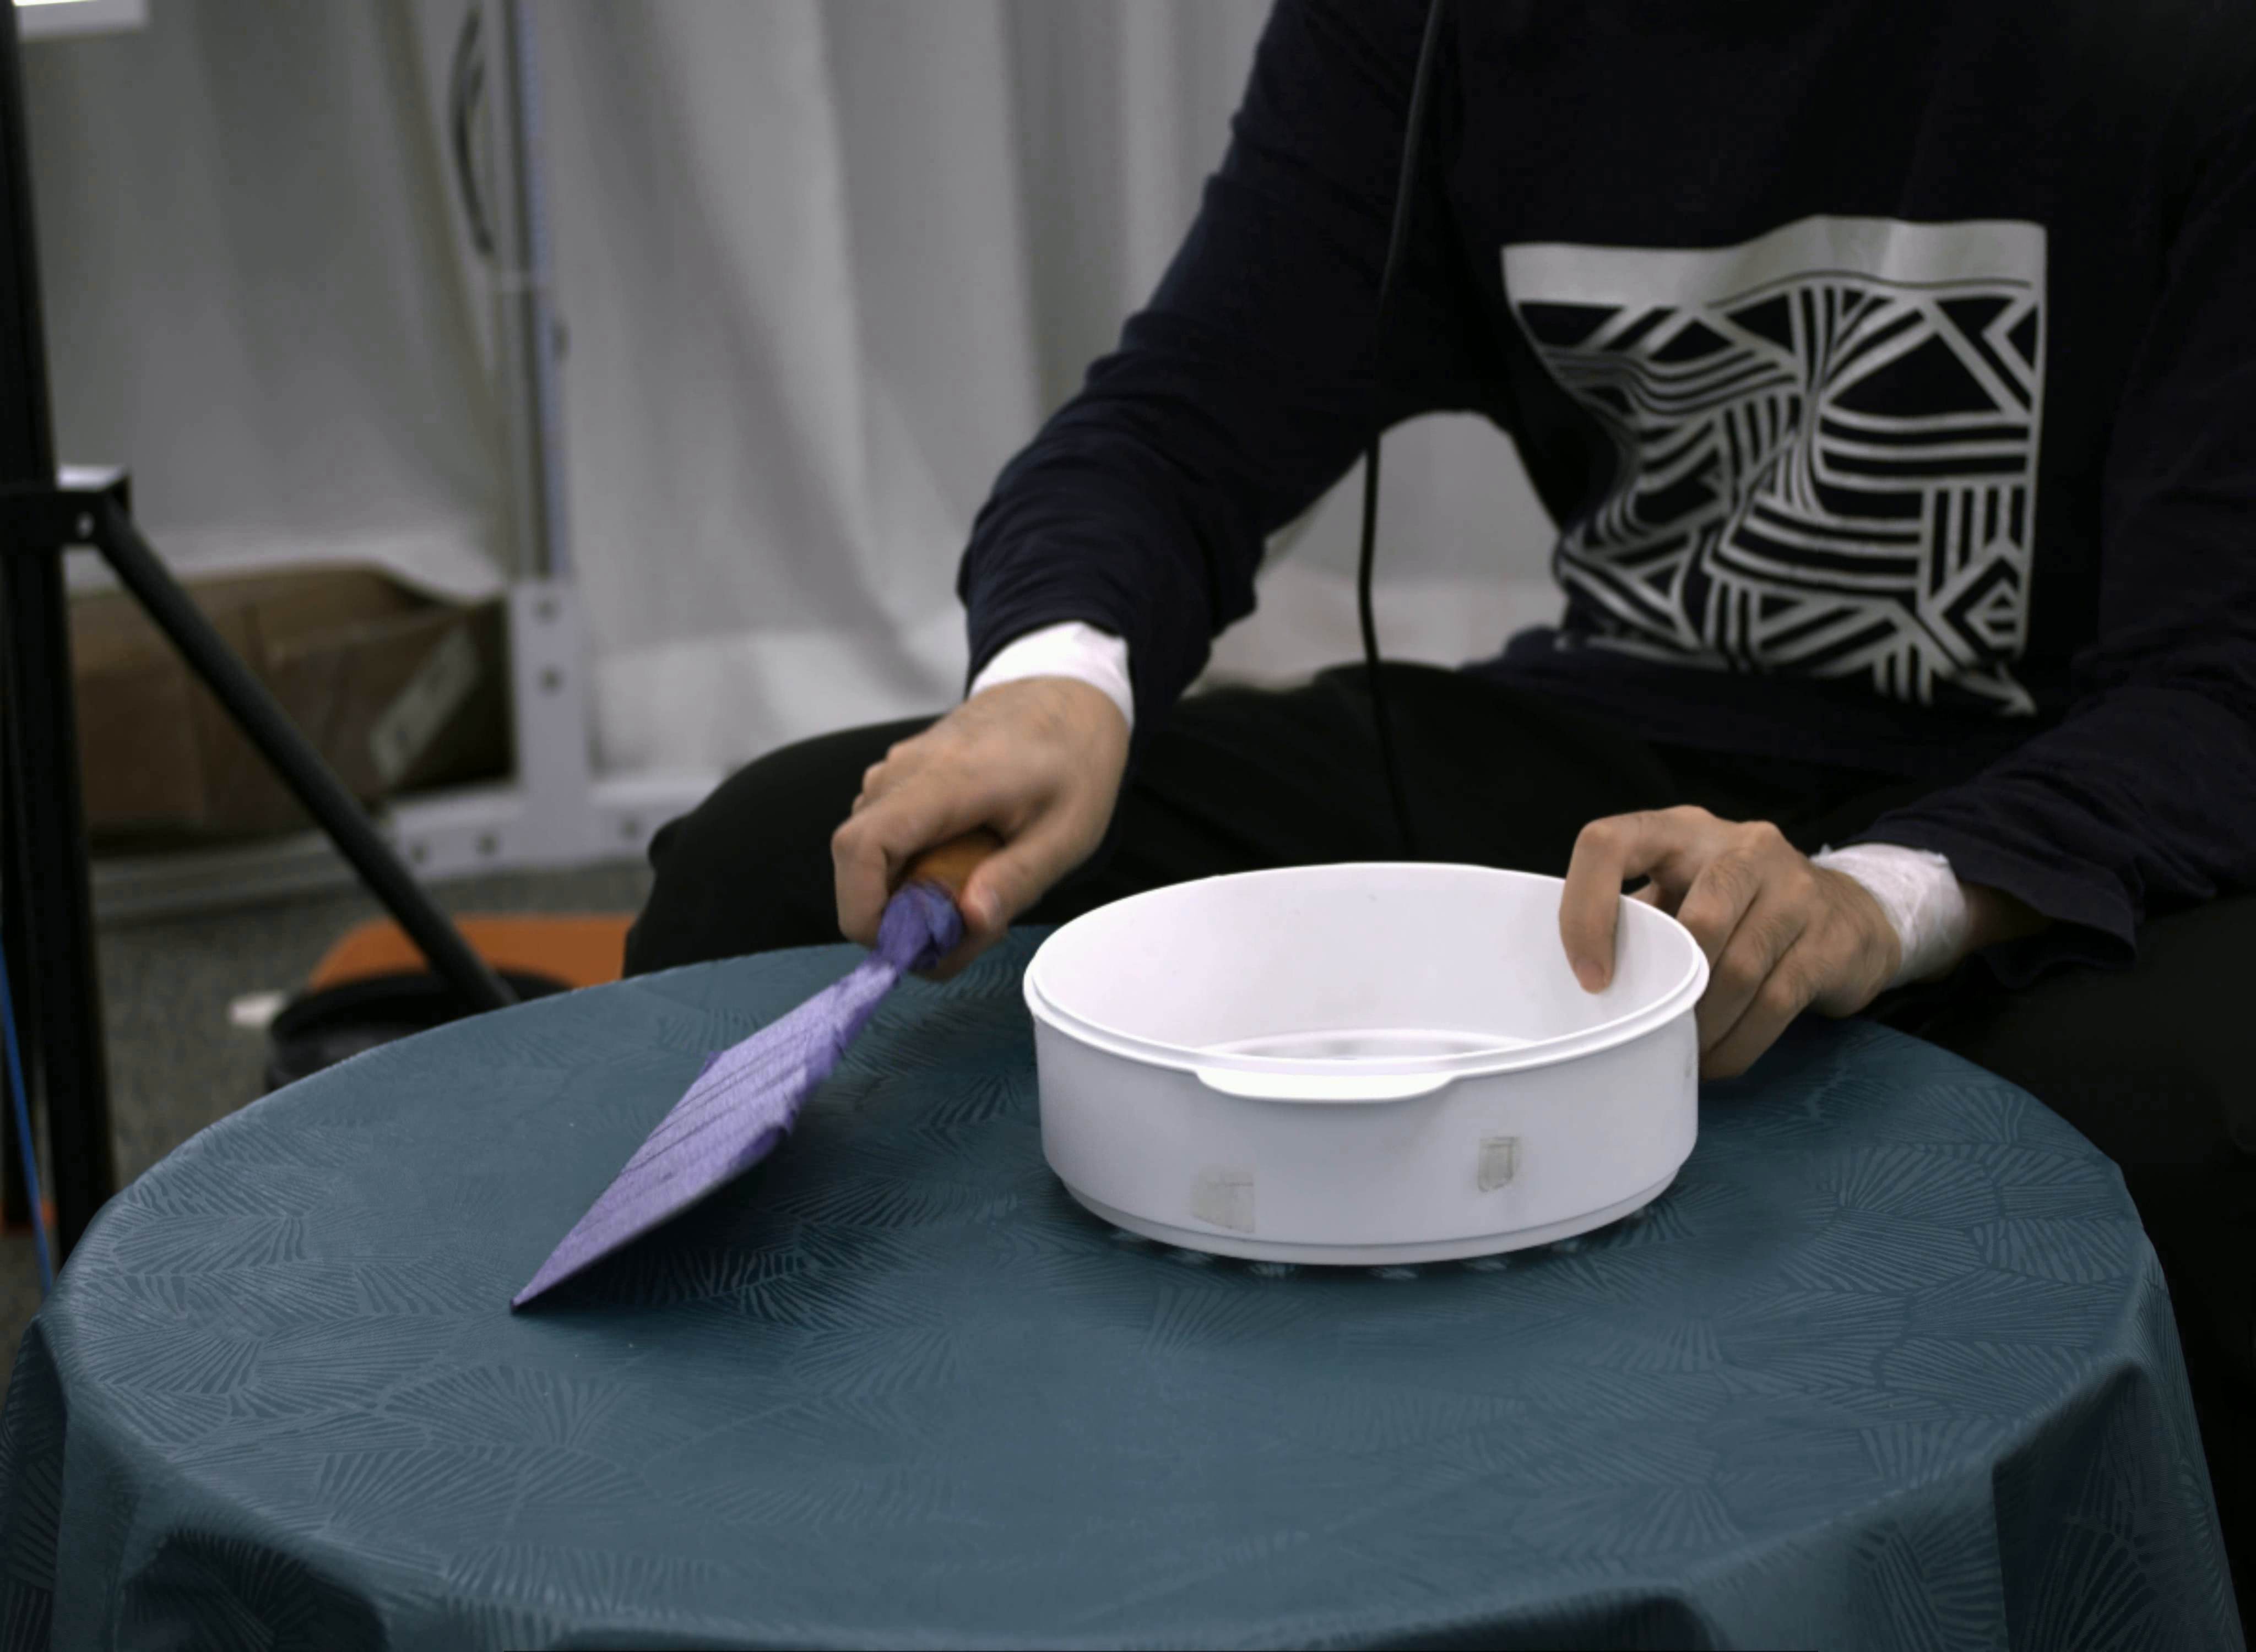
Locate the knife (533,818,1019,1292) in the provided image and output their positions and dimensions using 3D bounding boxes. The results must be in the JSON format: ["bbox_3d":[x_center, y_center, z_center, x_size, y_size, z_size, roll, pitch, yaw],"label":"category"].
[{"bbox_3d":[-0.106,0.065,1.612,0.104,0.032,0.313,-27,8,18],"label":"knife"}]

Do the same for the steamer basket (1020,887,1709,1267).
[{"bbox_3d":[0.069,0.073,1.556,0.203,0.069,0.229,2,13,10],"label":"steamer basket"}]
